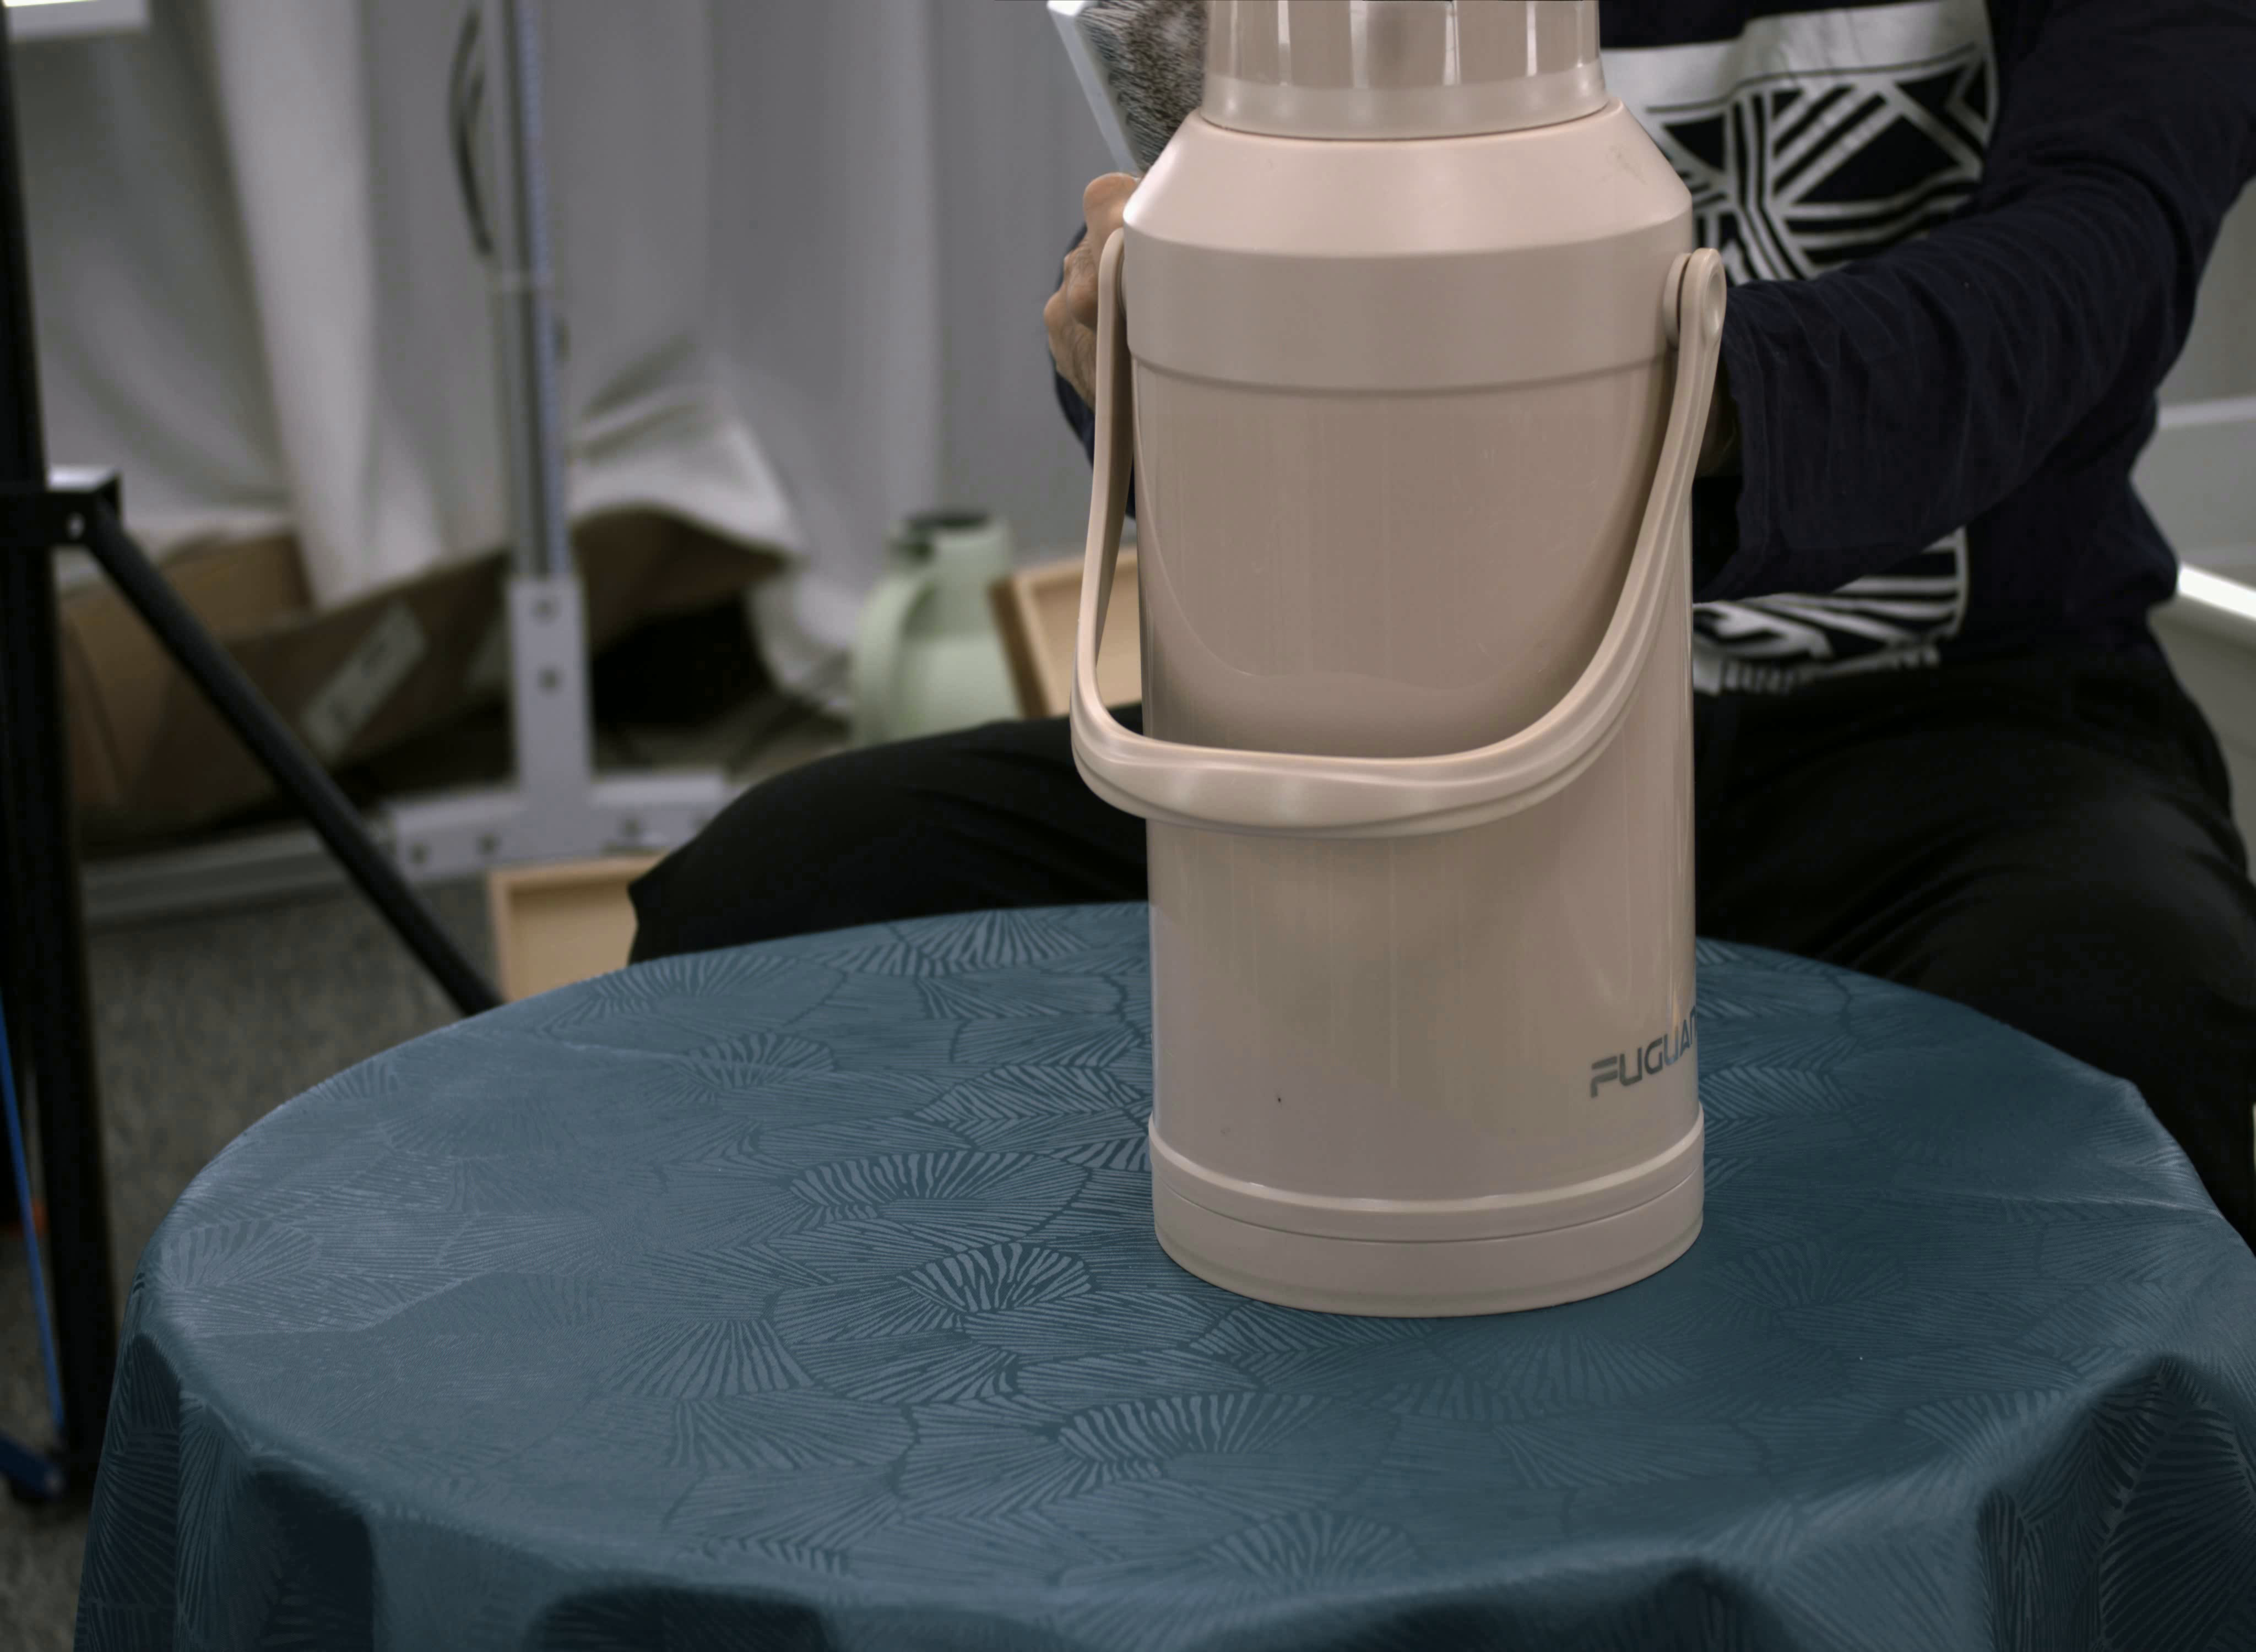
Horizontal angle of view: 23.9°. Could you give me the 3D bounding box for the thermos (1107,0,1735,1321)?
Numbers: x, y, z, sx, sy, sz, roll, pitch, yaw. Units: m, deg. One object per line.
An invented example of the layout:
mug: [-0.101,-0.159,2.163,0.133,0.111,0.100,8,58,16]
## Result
thermos: [0.088,-0.080,1.486,0.177,0.406,0.204,2,15,22]

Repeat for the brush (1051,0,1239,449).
brush: [0.014,-0.175,1.573,0.051,0.241,0.034,37,68,24]
